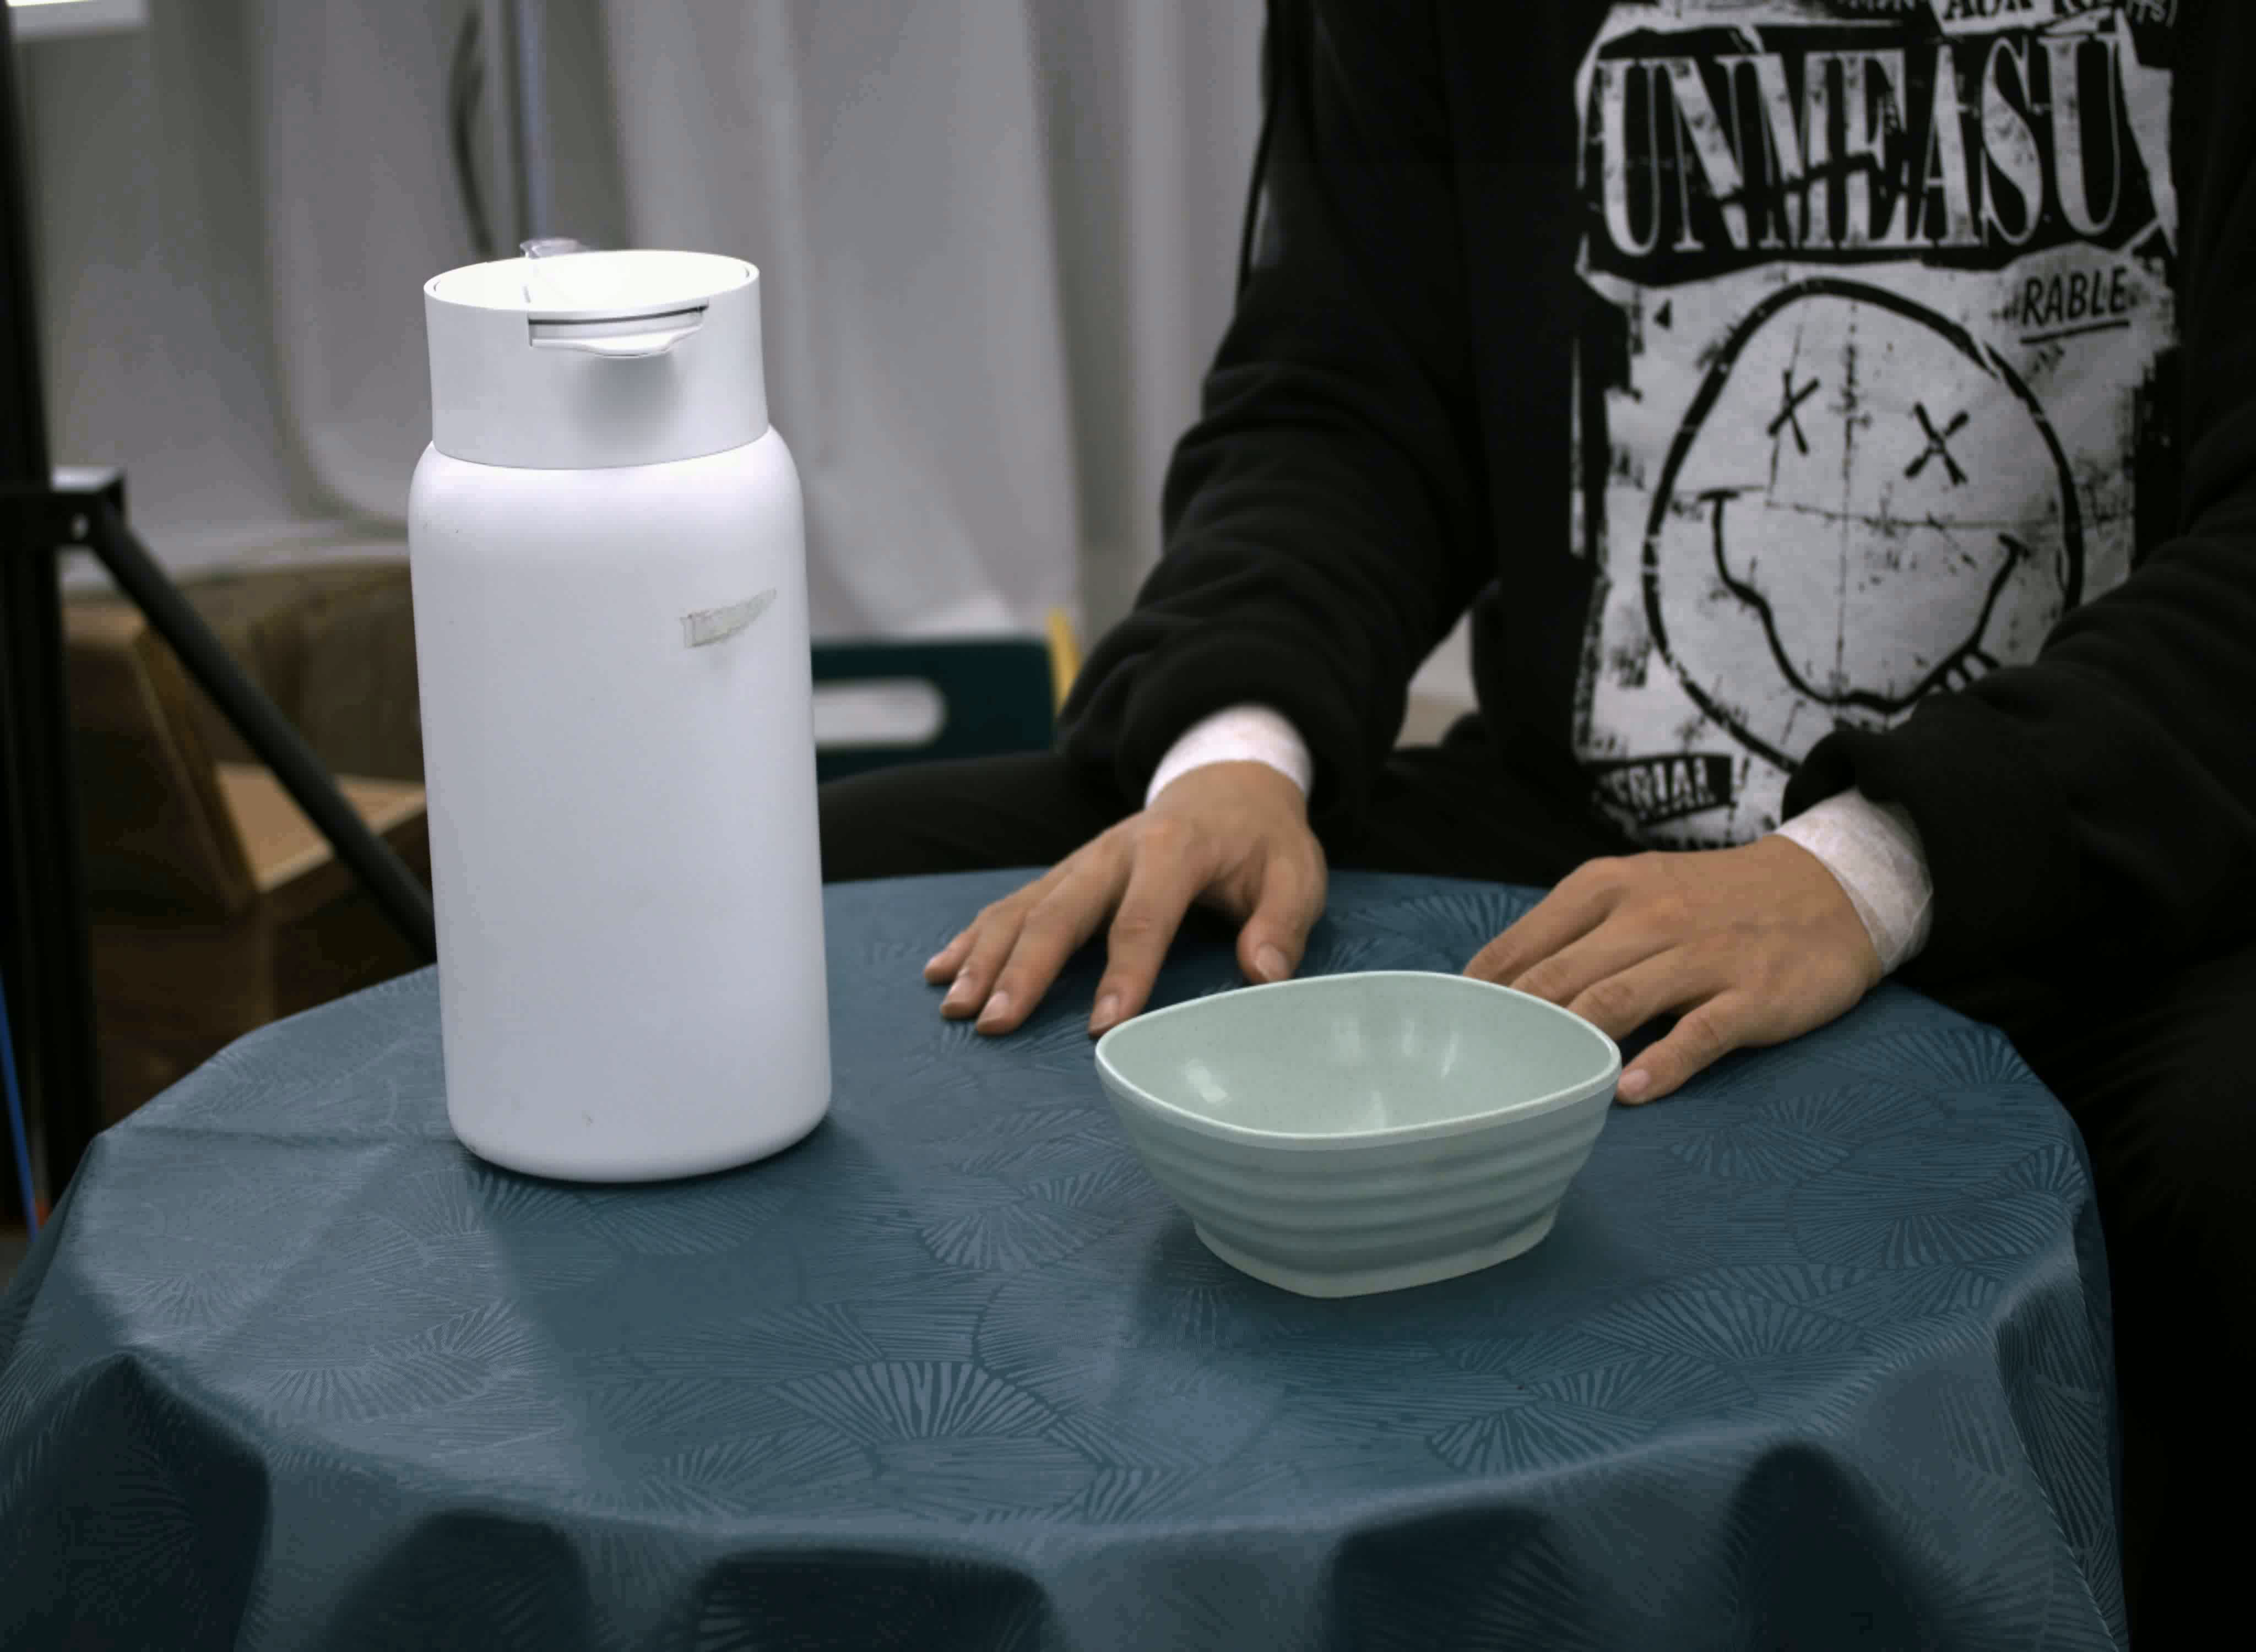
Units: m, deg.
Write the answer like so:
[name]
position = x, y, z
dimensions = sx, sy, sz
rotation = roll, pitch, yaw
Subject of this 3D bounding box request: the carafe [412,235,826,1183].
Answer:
[carafe]
position = -0.159, -0.039, 1.614
dimensions = 0.122, 0.269, 0.175
rotation = -8, 16, -15

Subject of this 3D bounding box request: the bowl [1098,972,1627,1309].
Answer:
[bowl]
position = 0.066, 0.092, 1.501
dimensions = 0.150, 0.058, 0.152
rotation = -3, 16, -1
